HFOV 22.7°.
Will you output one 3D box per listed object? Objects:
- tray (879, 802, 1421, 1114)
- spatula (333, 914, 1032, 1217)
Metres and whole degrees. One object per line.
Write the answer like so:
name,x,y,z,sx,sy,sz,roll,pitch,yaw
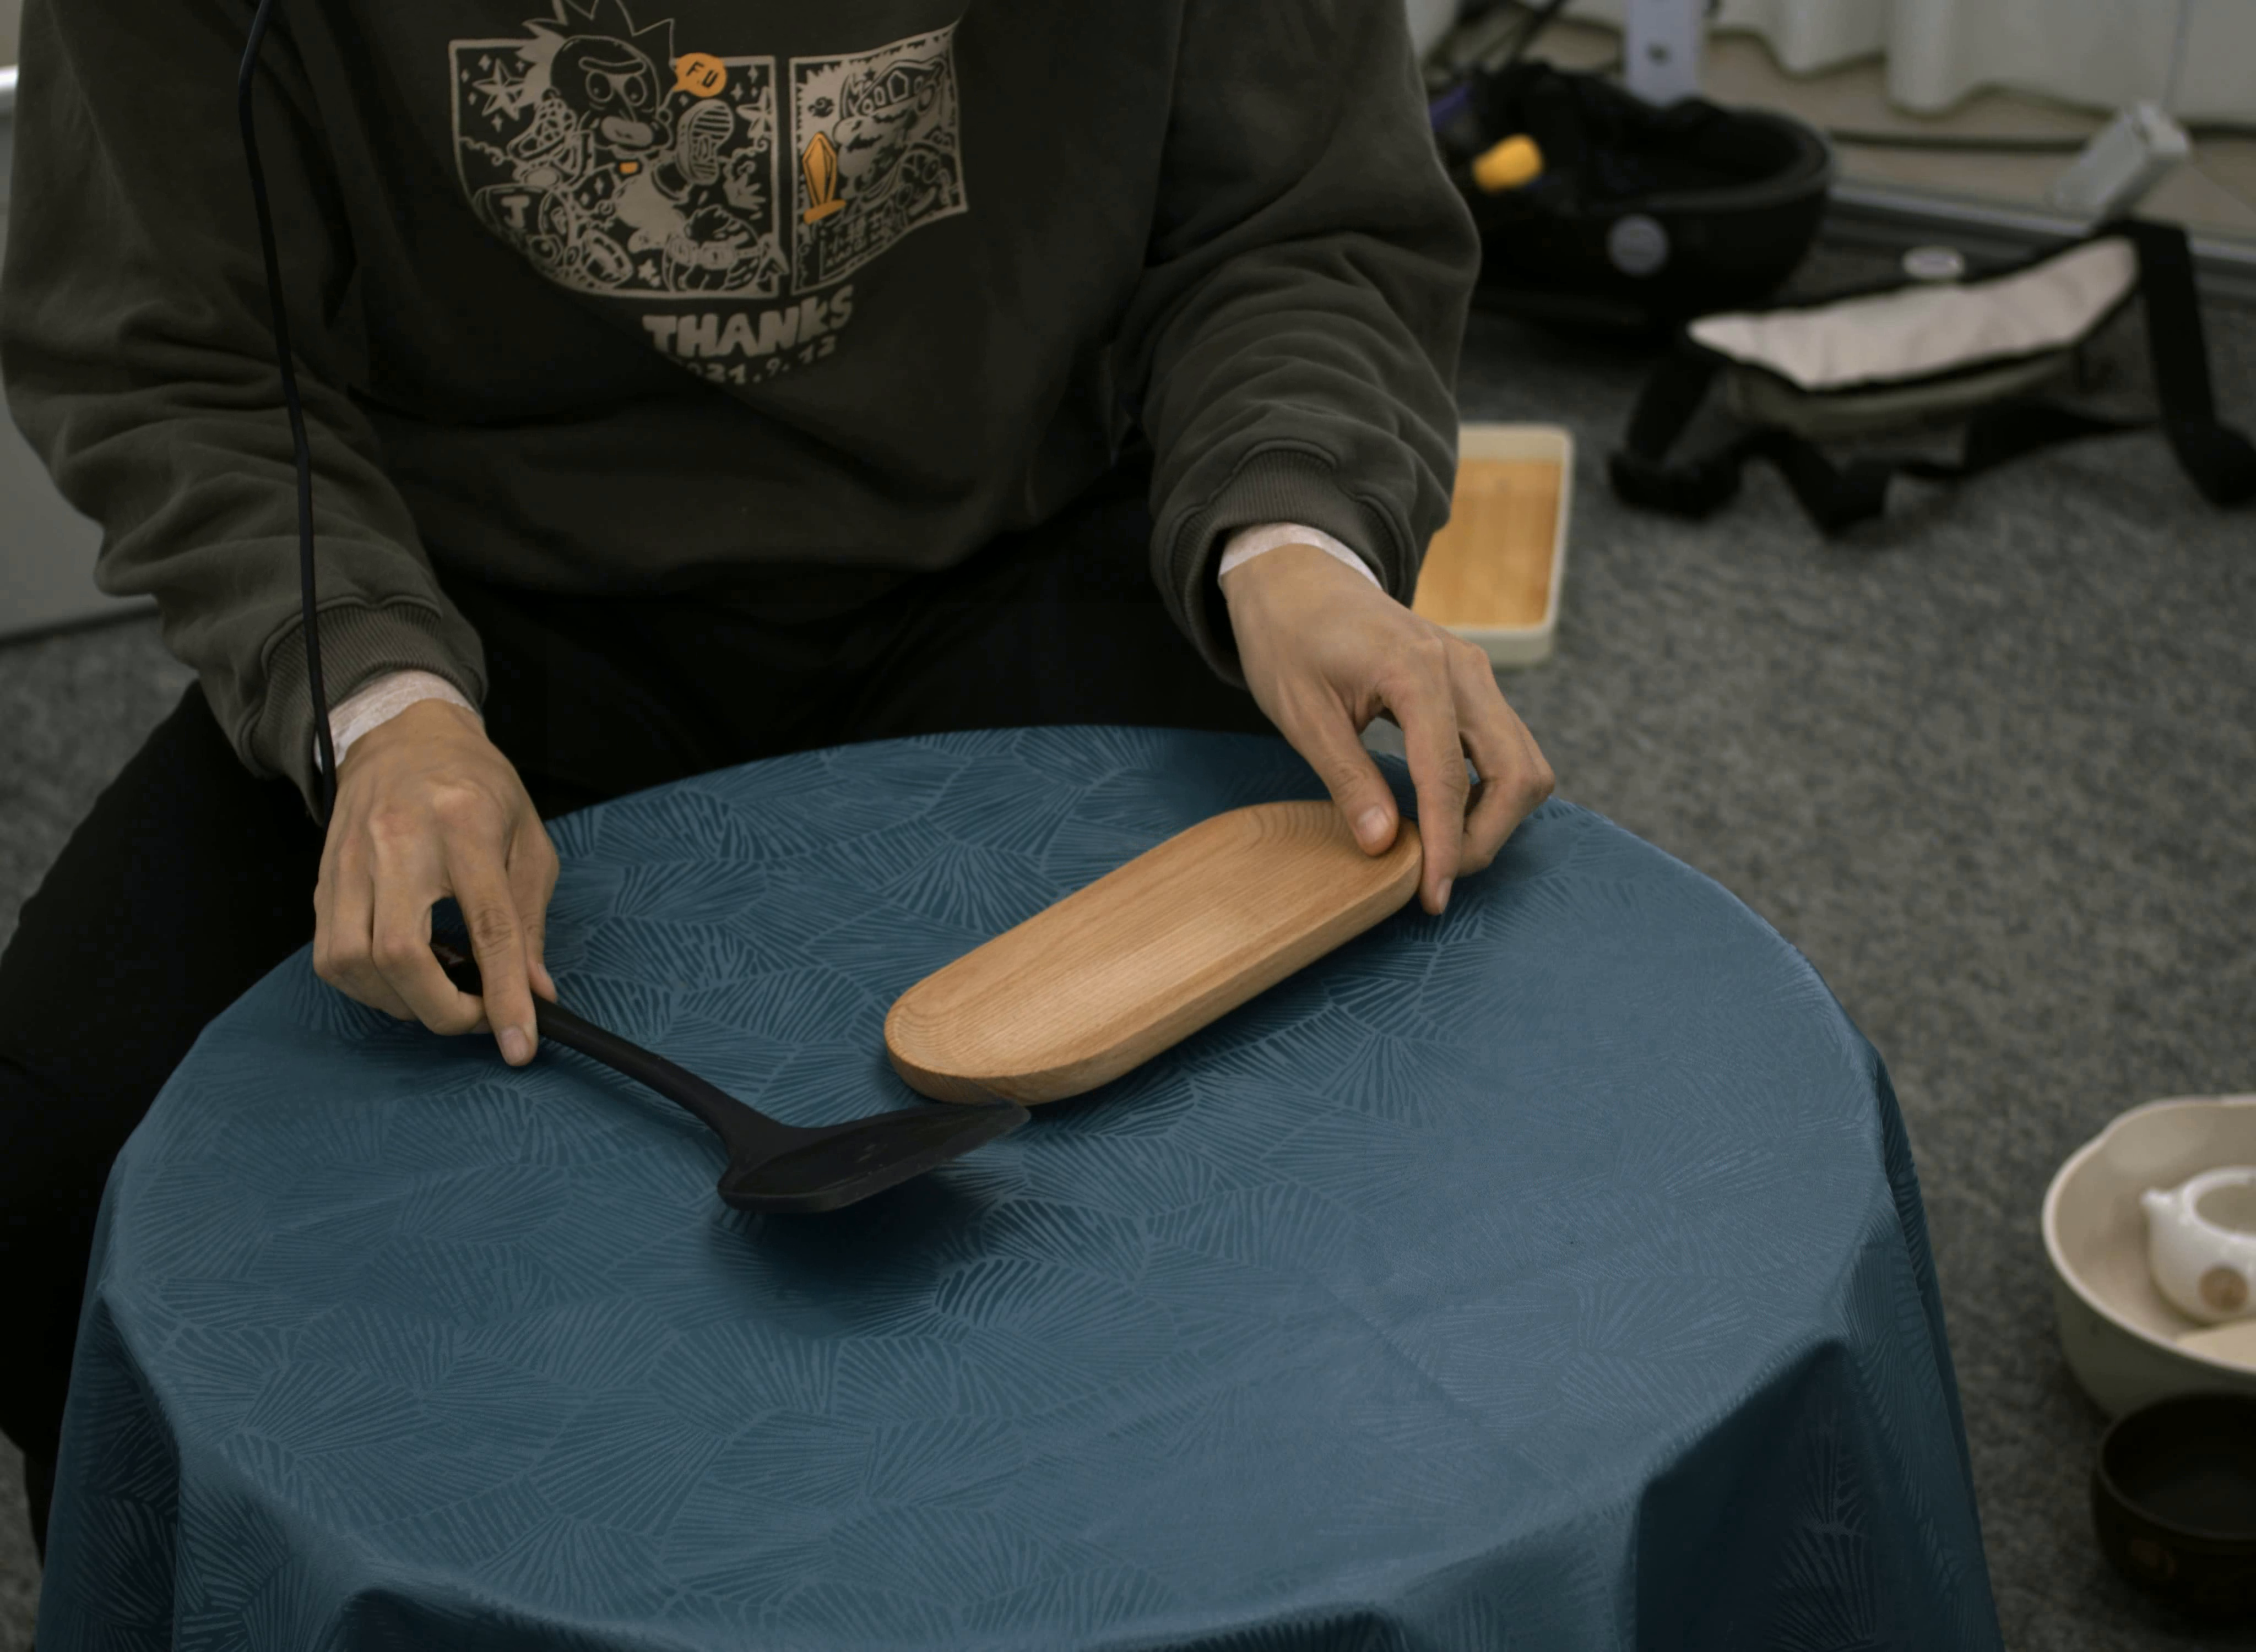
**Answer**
tray,0.010,0.045,1.977,0.101,0.020,0.234,15,34,43
spatula,-0.172,0.075,1.924,0.101,0.040,0.326,-20,33,-40
